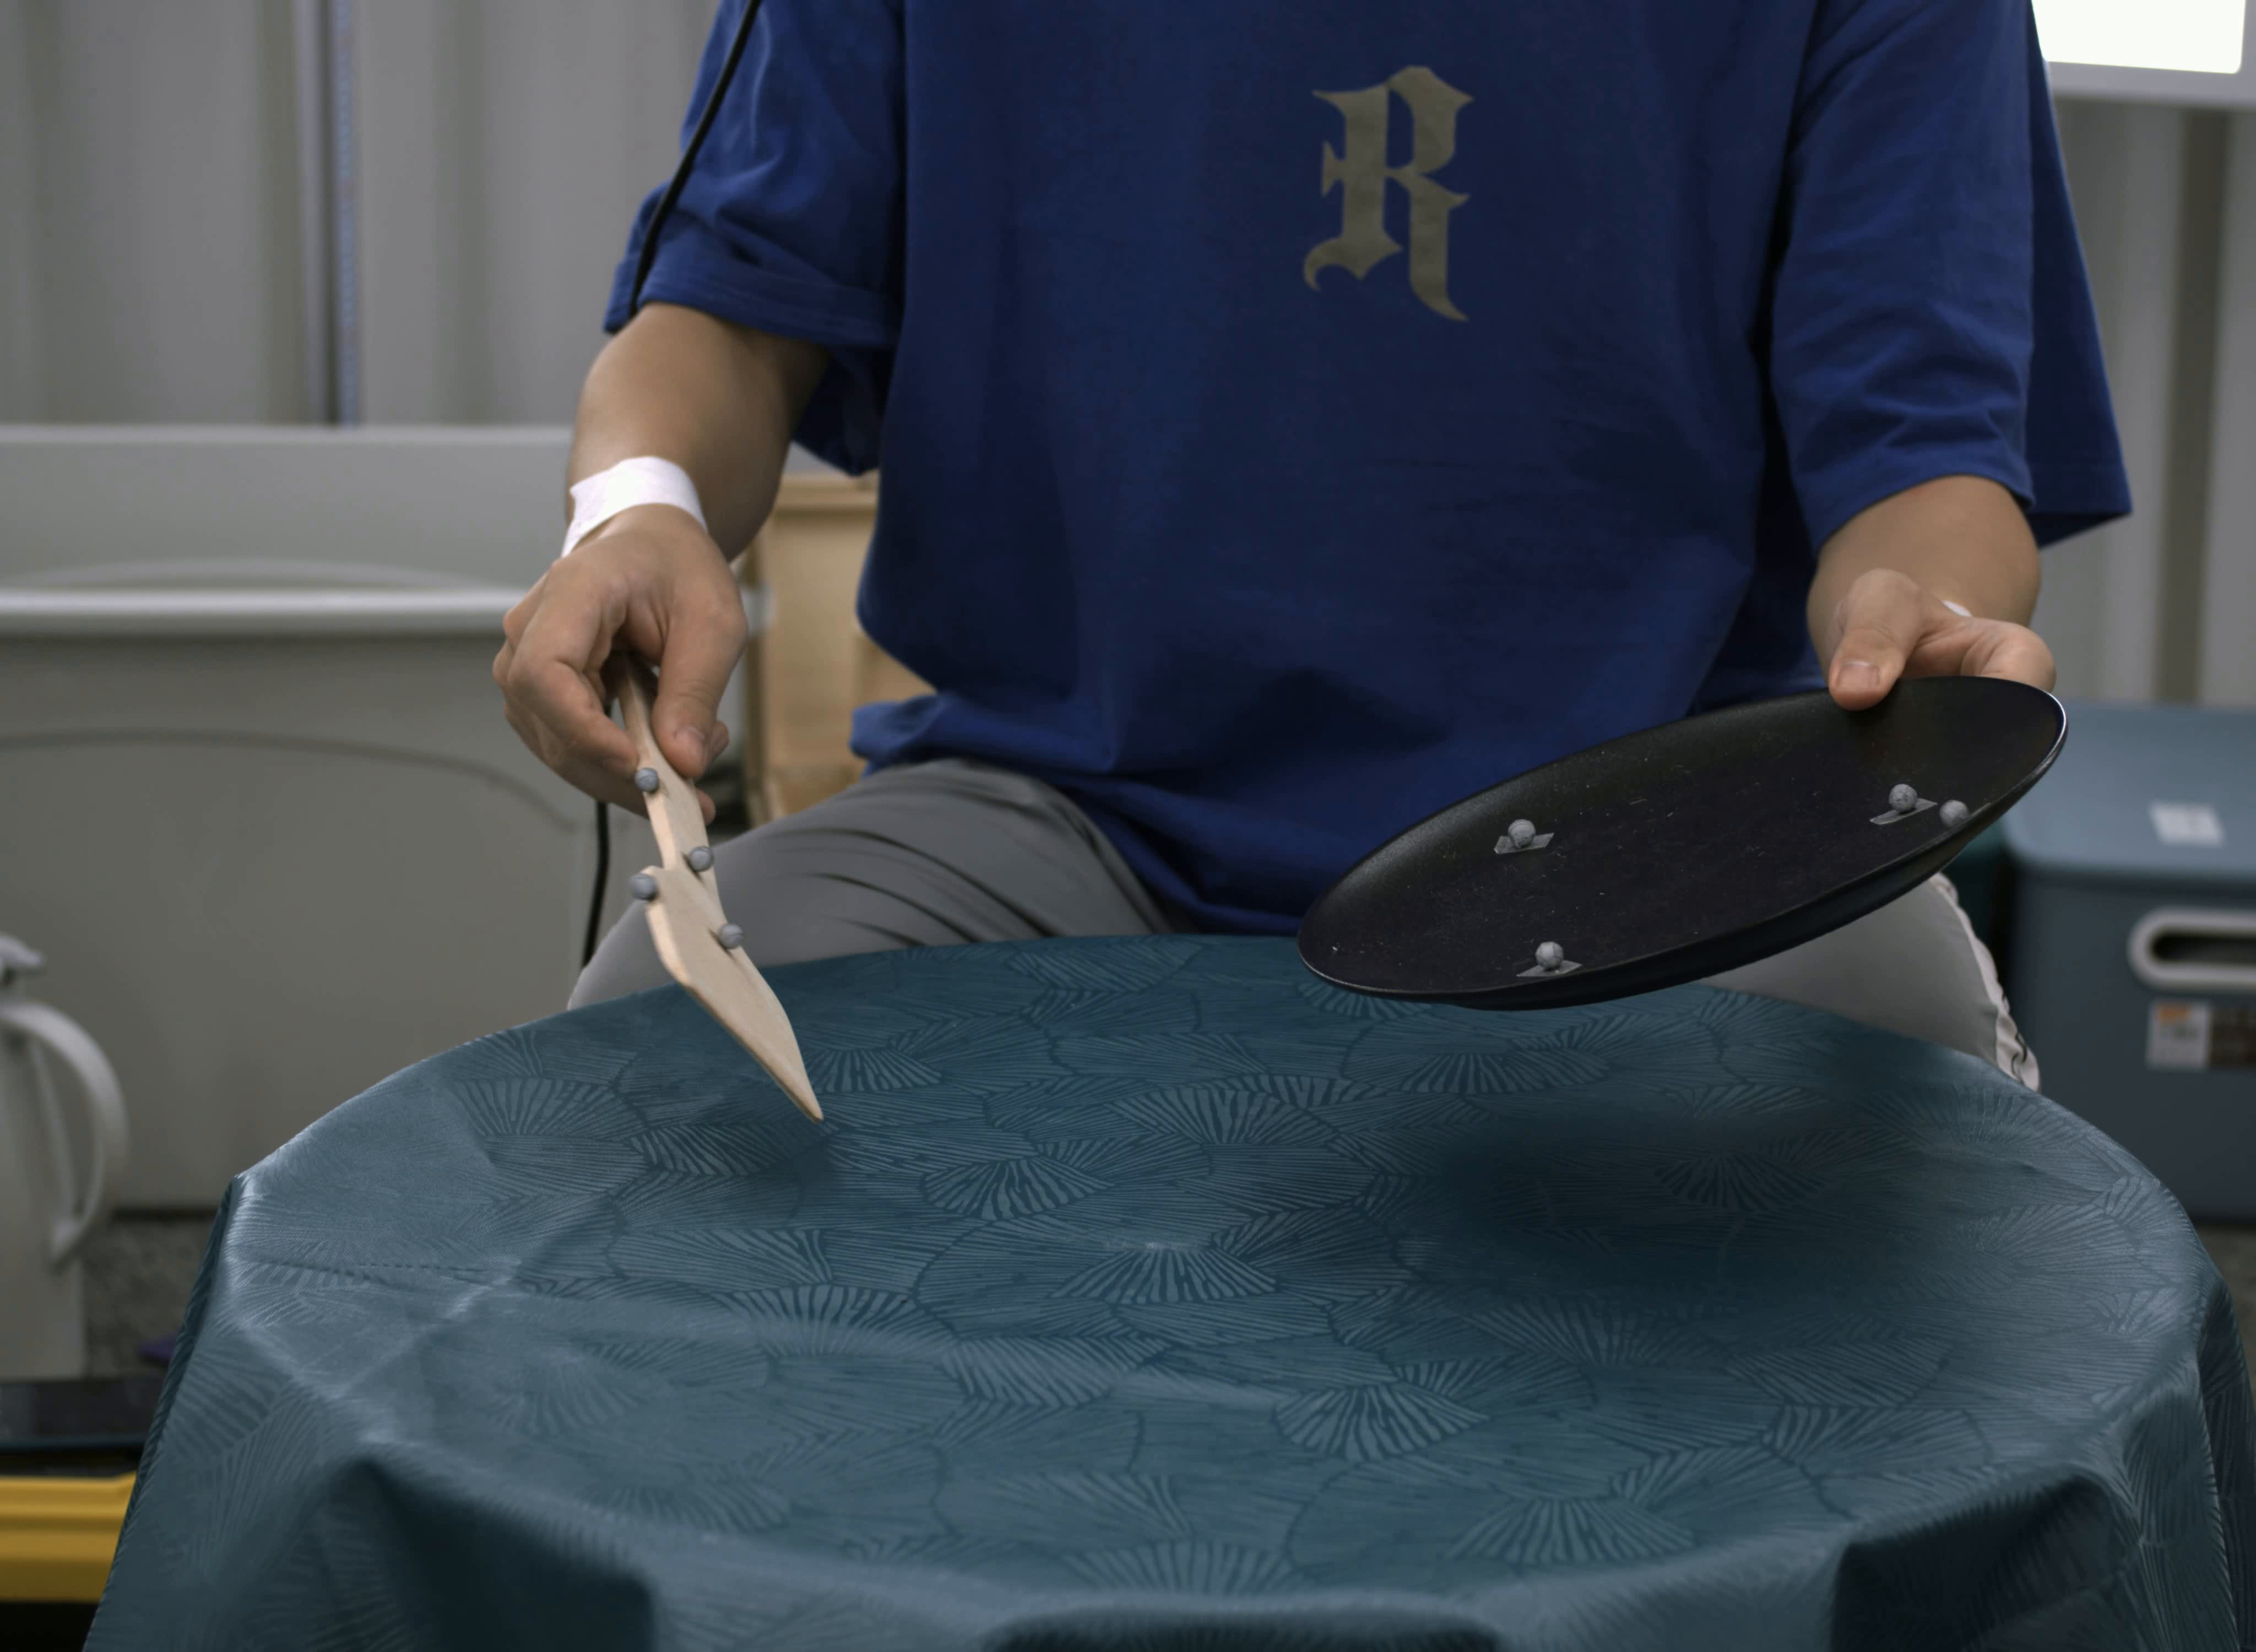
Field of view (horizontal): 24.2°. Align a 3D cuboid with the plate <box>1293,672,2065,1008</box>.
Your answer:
[{"bbox_3d":[0.169,0.008,1.601,0.243,0.023,0.243,-17,14,5],"label":"plate"}]

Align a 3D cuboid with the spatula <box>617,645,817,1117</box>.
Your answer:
[{"bbox_3d":[-0.146,0.006,1.731,0.010,0.073,0.290,-39,27,9],"label":"spatula"}]
